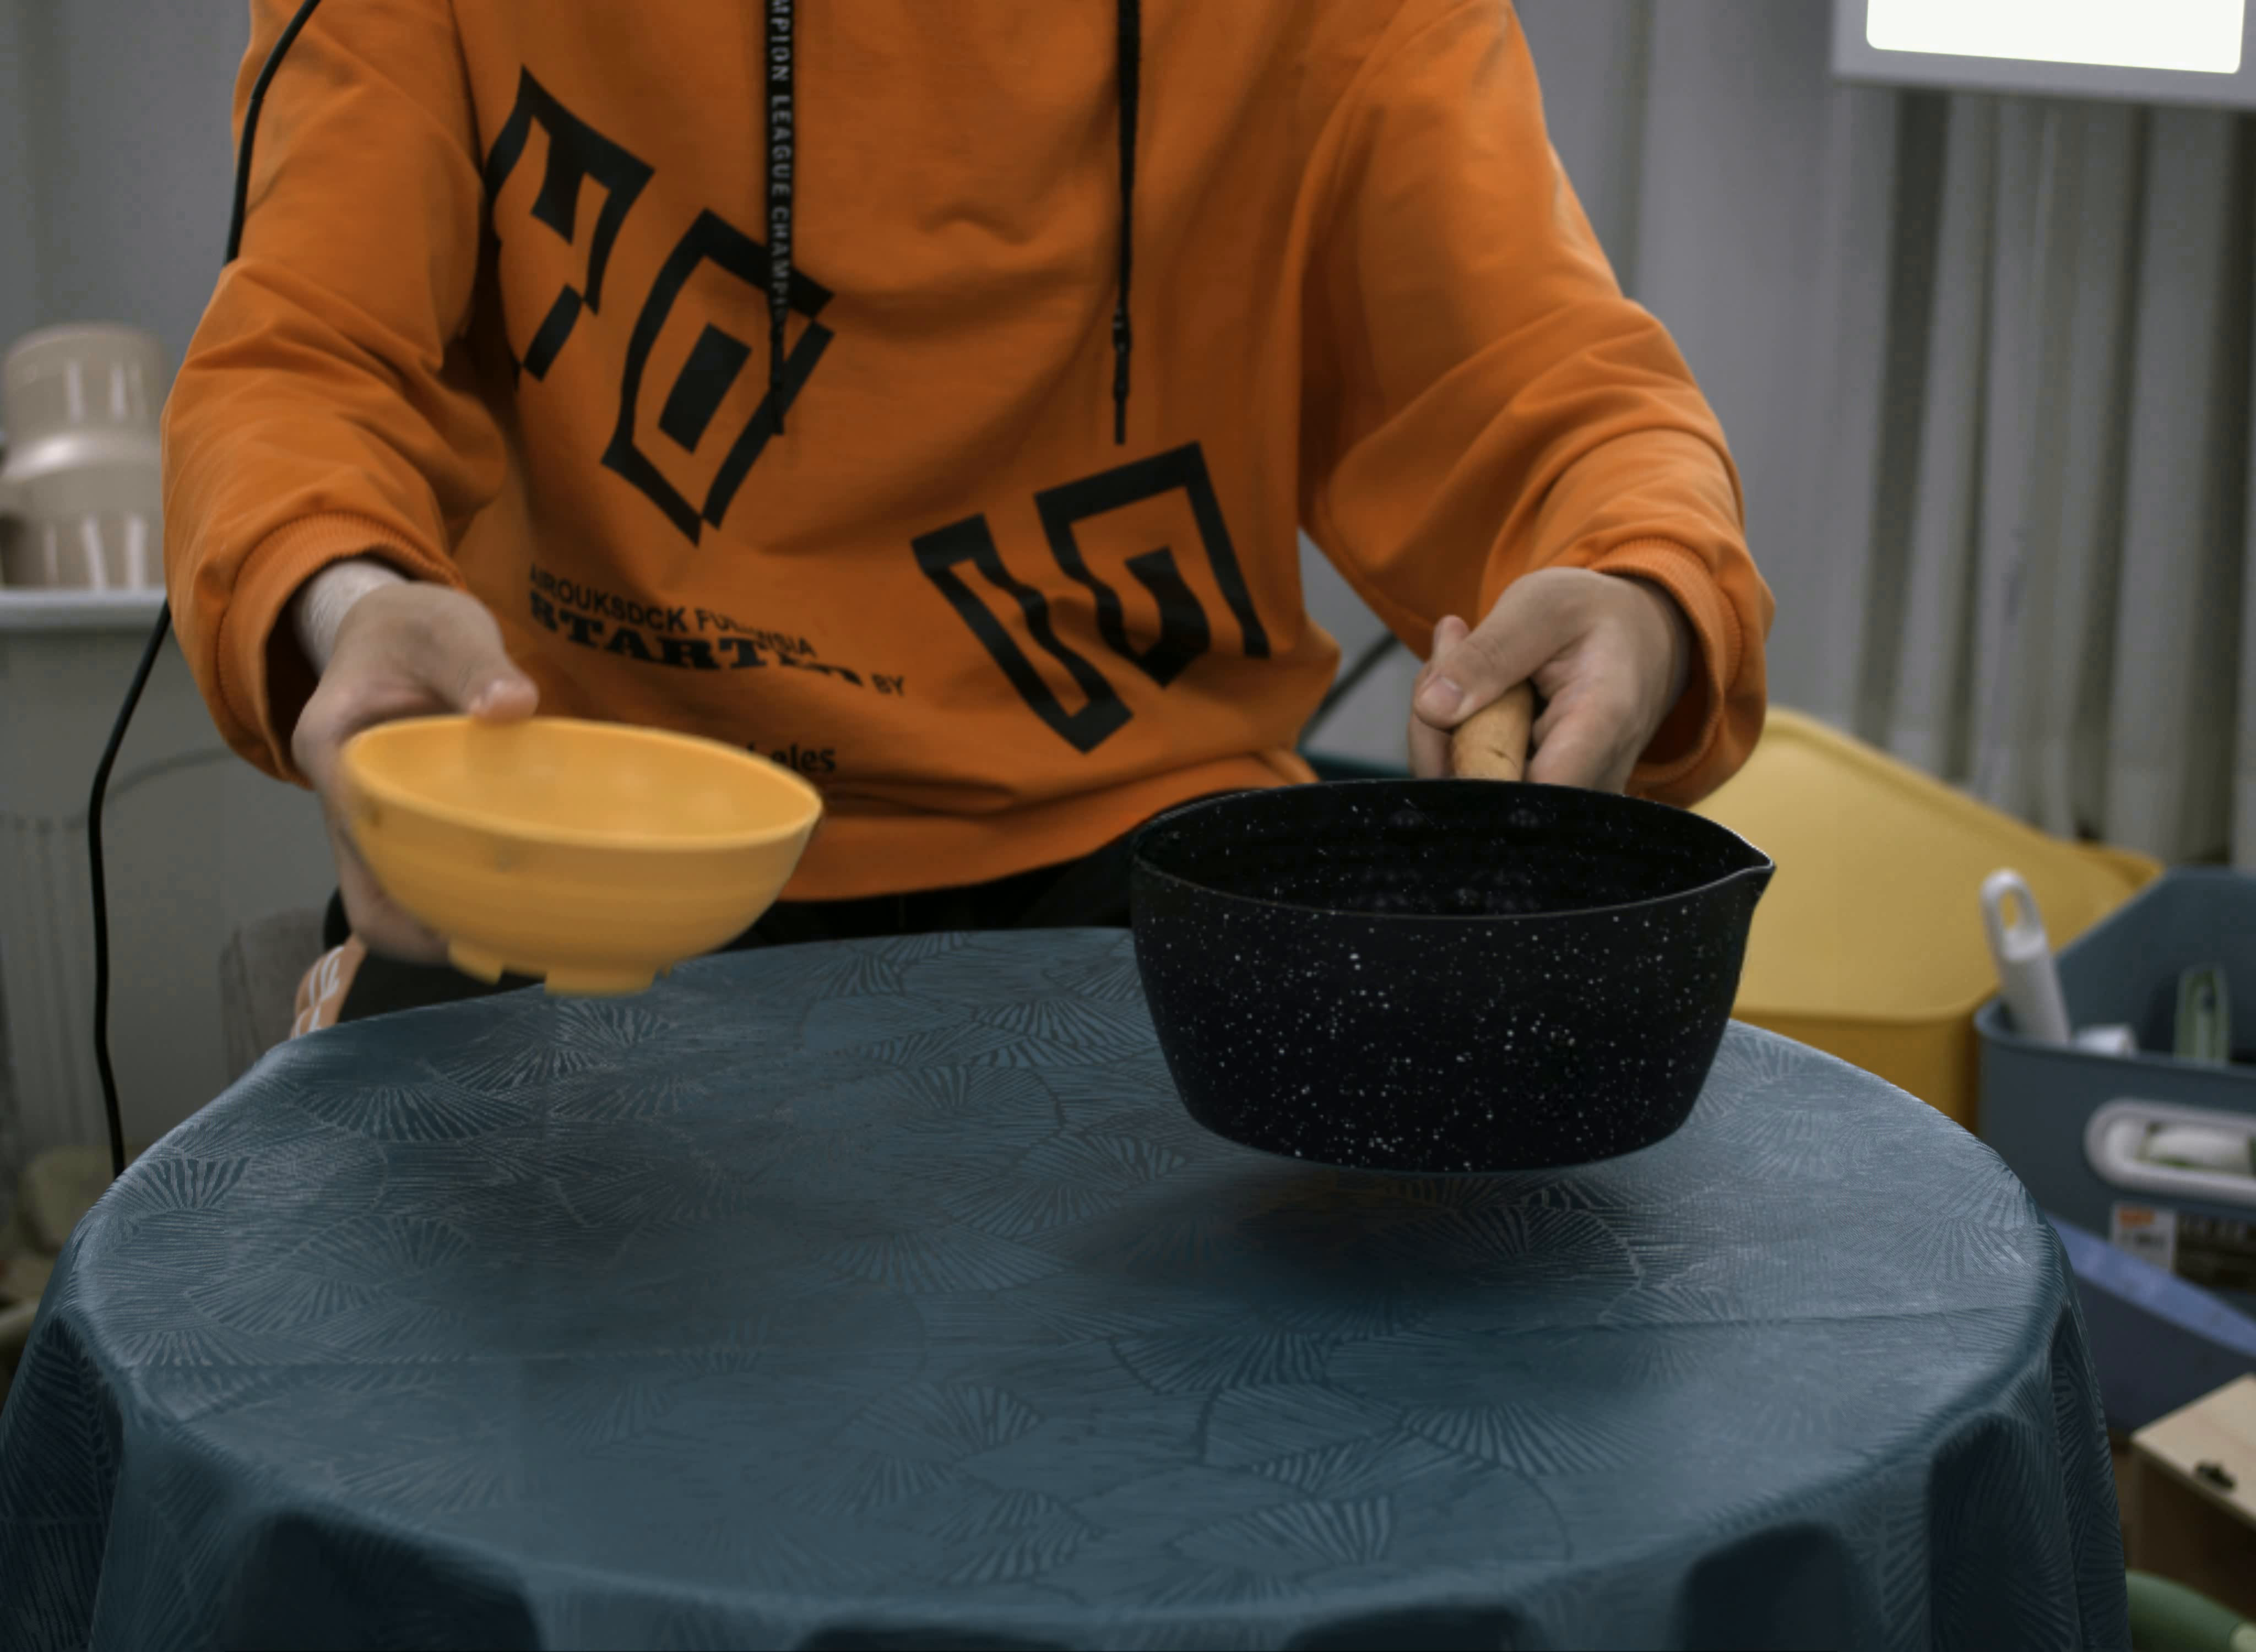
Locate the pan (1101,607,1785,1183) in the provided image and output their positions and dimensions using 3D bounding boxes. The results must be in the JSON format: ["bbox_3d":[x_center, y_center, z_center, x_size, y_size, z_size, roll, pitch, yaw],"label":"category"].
[{"bbox_3d":[0.103,0.017,1.655,0.206,0.109,0.342,1,14,8],"label":"pan"}]

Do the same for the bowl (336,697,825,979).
[{"bbox_3d":[-0.165,0.008,1.559,0.145,0.060,0.144,9,13,-1],"label":"bowl"}]
